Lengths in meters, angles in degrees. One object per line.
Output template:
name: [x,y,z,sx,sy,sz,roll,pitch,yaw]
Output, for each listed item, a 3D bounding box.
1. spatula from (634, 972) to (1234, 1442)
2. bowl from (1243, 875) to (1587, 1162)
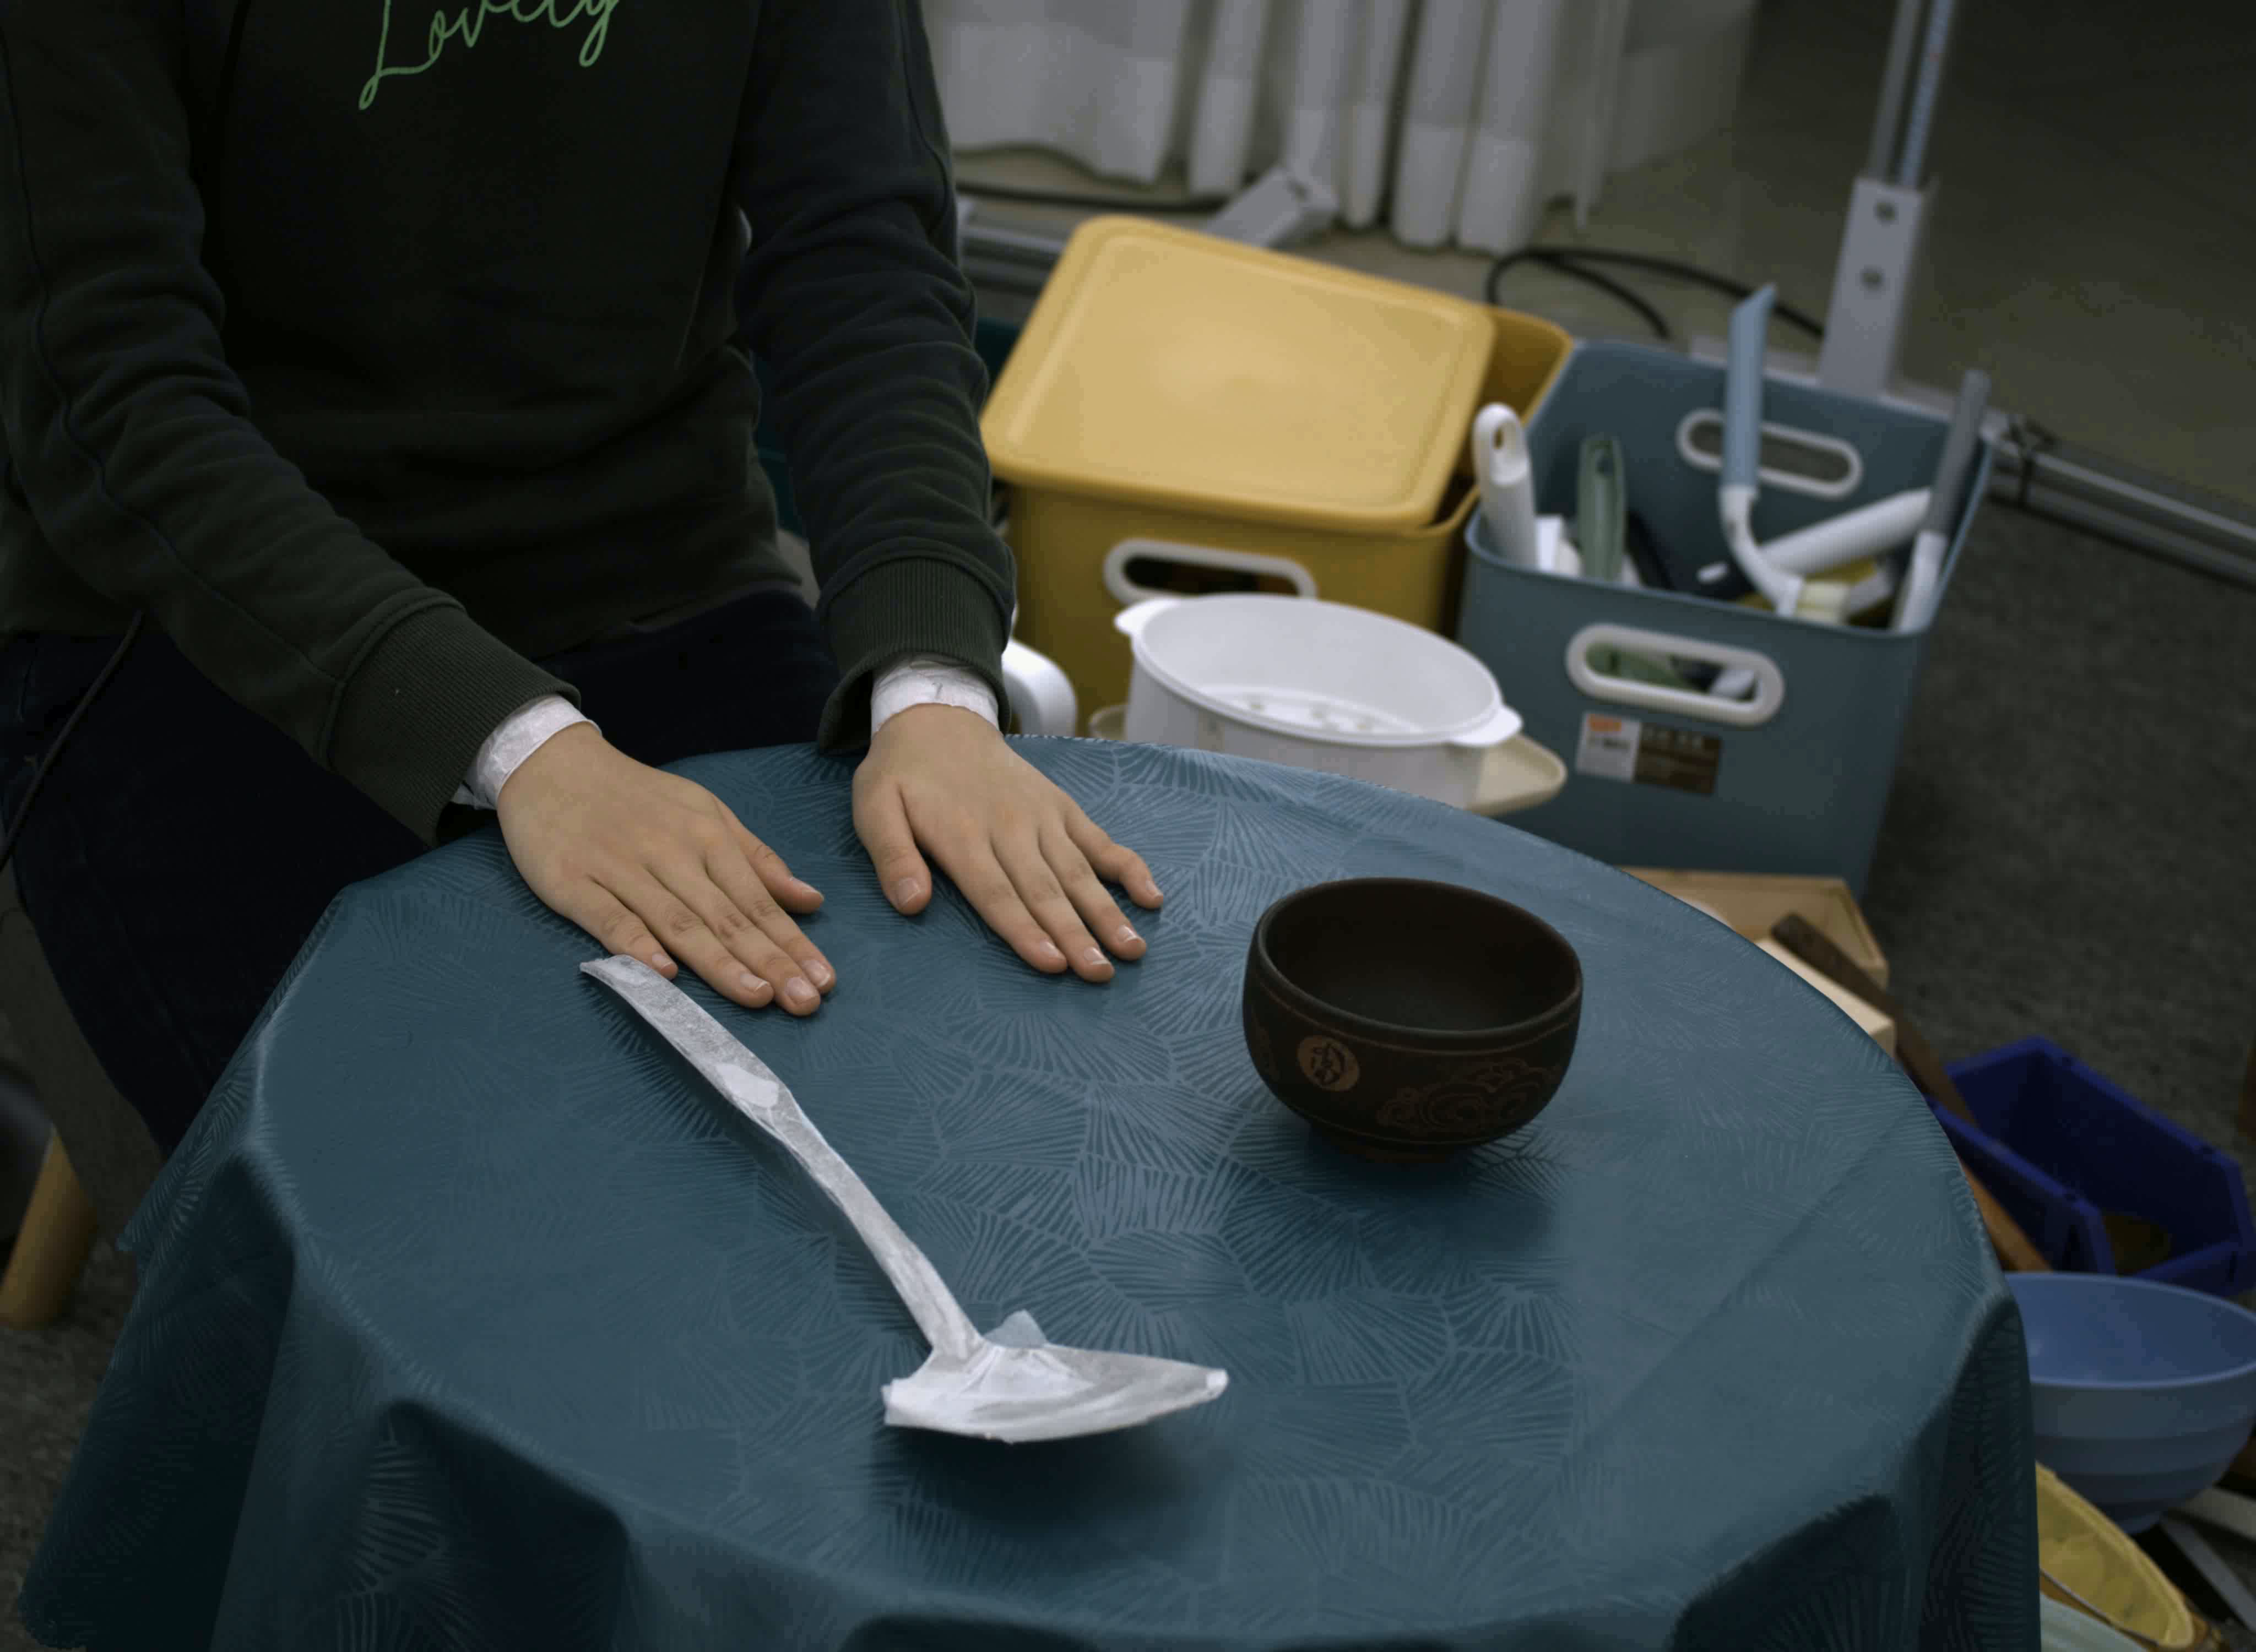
spatula: [-0.088,0.117,1.751,0.098,0.044,0.368,-10,31,-27]
bowl: [0.097,0.073,1.843,0.117,0.069,0.119,6,25,-3]
